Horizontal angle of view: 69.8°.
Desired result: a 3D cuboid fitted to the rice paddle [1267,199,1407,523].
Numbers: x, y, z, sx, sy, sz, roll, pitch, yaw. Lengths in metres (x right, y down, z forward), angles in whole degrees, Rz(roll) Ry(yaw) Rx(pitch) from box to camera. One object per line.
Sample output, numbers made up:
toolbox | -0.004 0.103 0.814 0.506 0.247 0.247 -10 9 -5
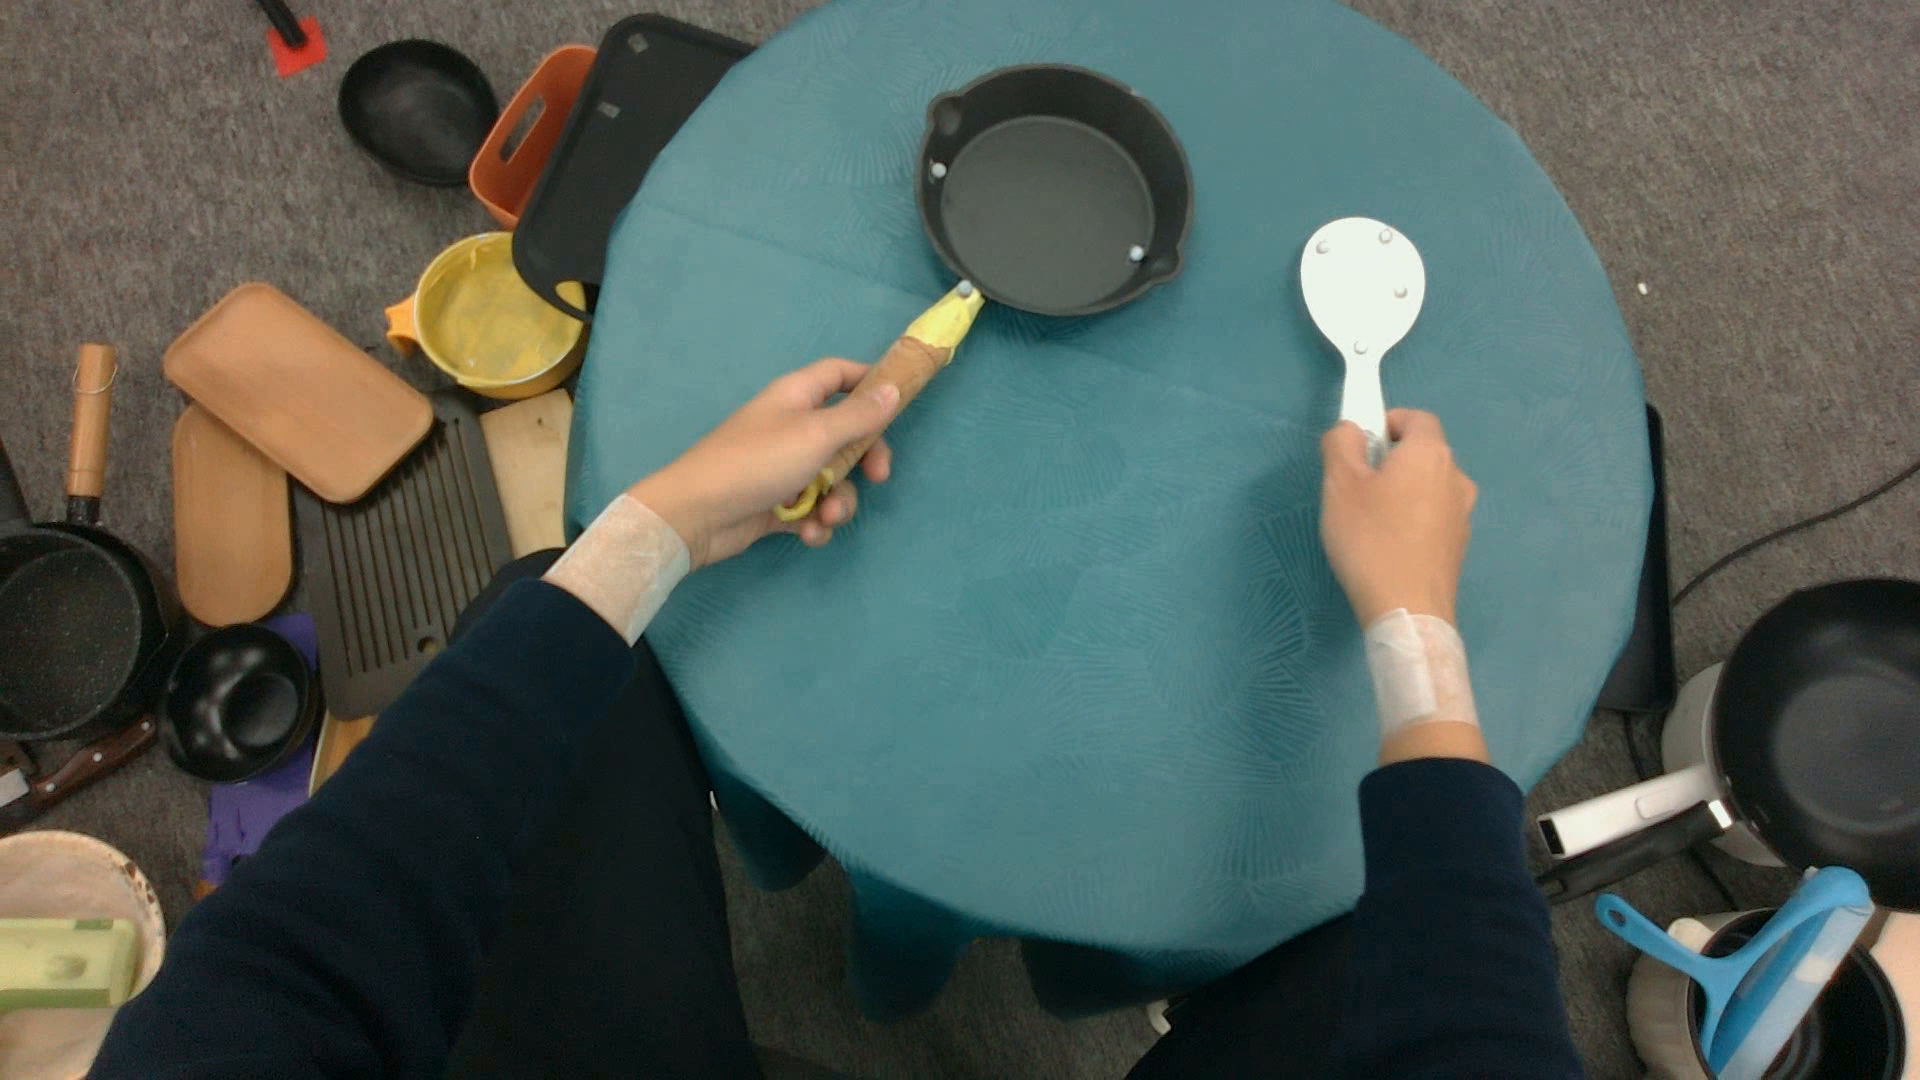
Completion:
rice paddle | 0.210 -0.107 0.752 0.068 0.029 0.206 -8 63 12

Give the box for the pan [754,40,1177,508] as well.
pan | -0.007 -0.141 0.743 0.169 0.049 0.325 36 73 4
